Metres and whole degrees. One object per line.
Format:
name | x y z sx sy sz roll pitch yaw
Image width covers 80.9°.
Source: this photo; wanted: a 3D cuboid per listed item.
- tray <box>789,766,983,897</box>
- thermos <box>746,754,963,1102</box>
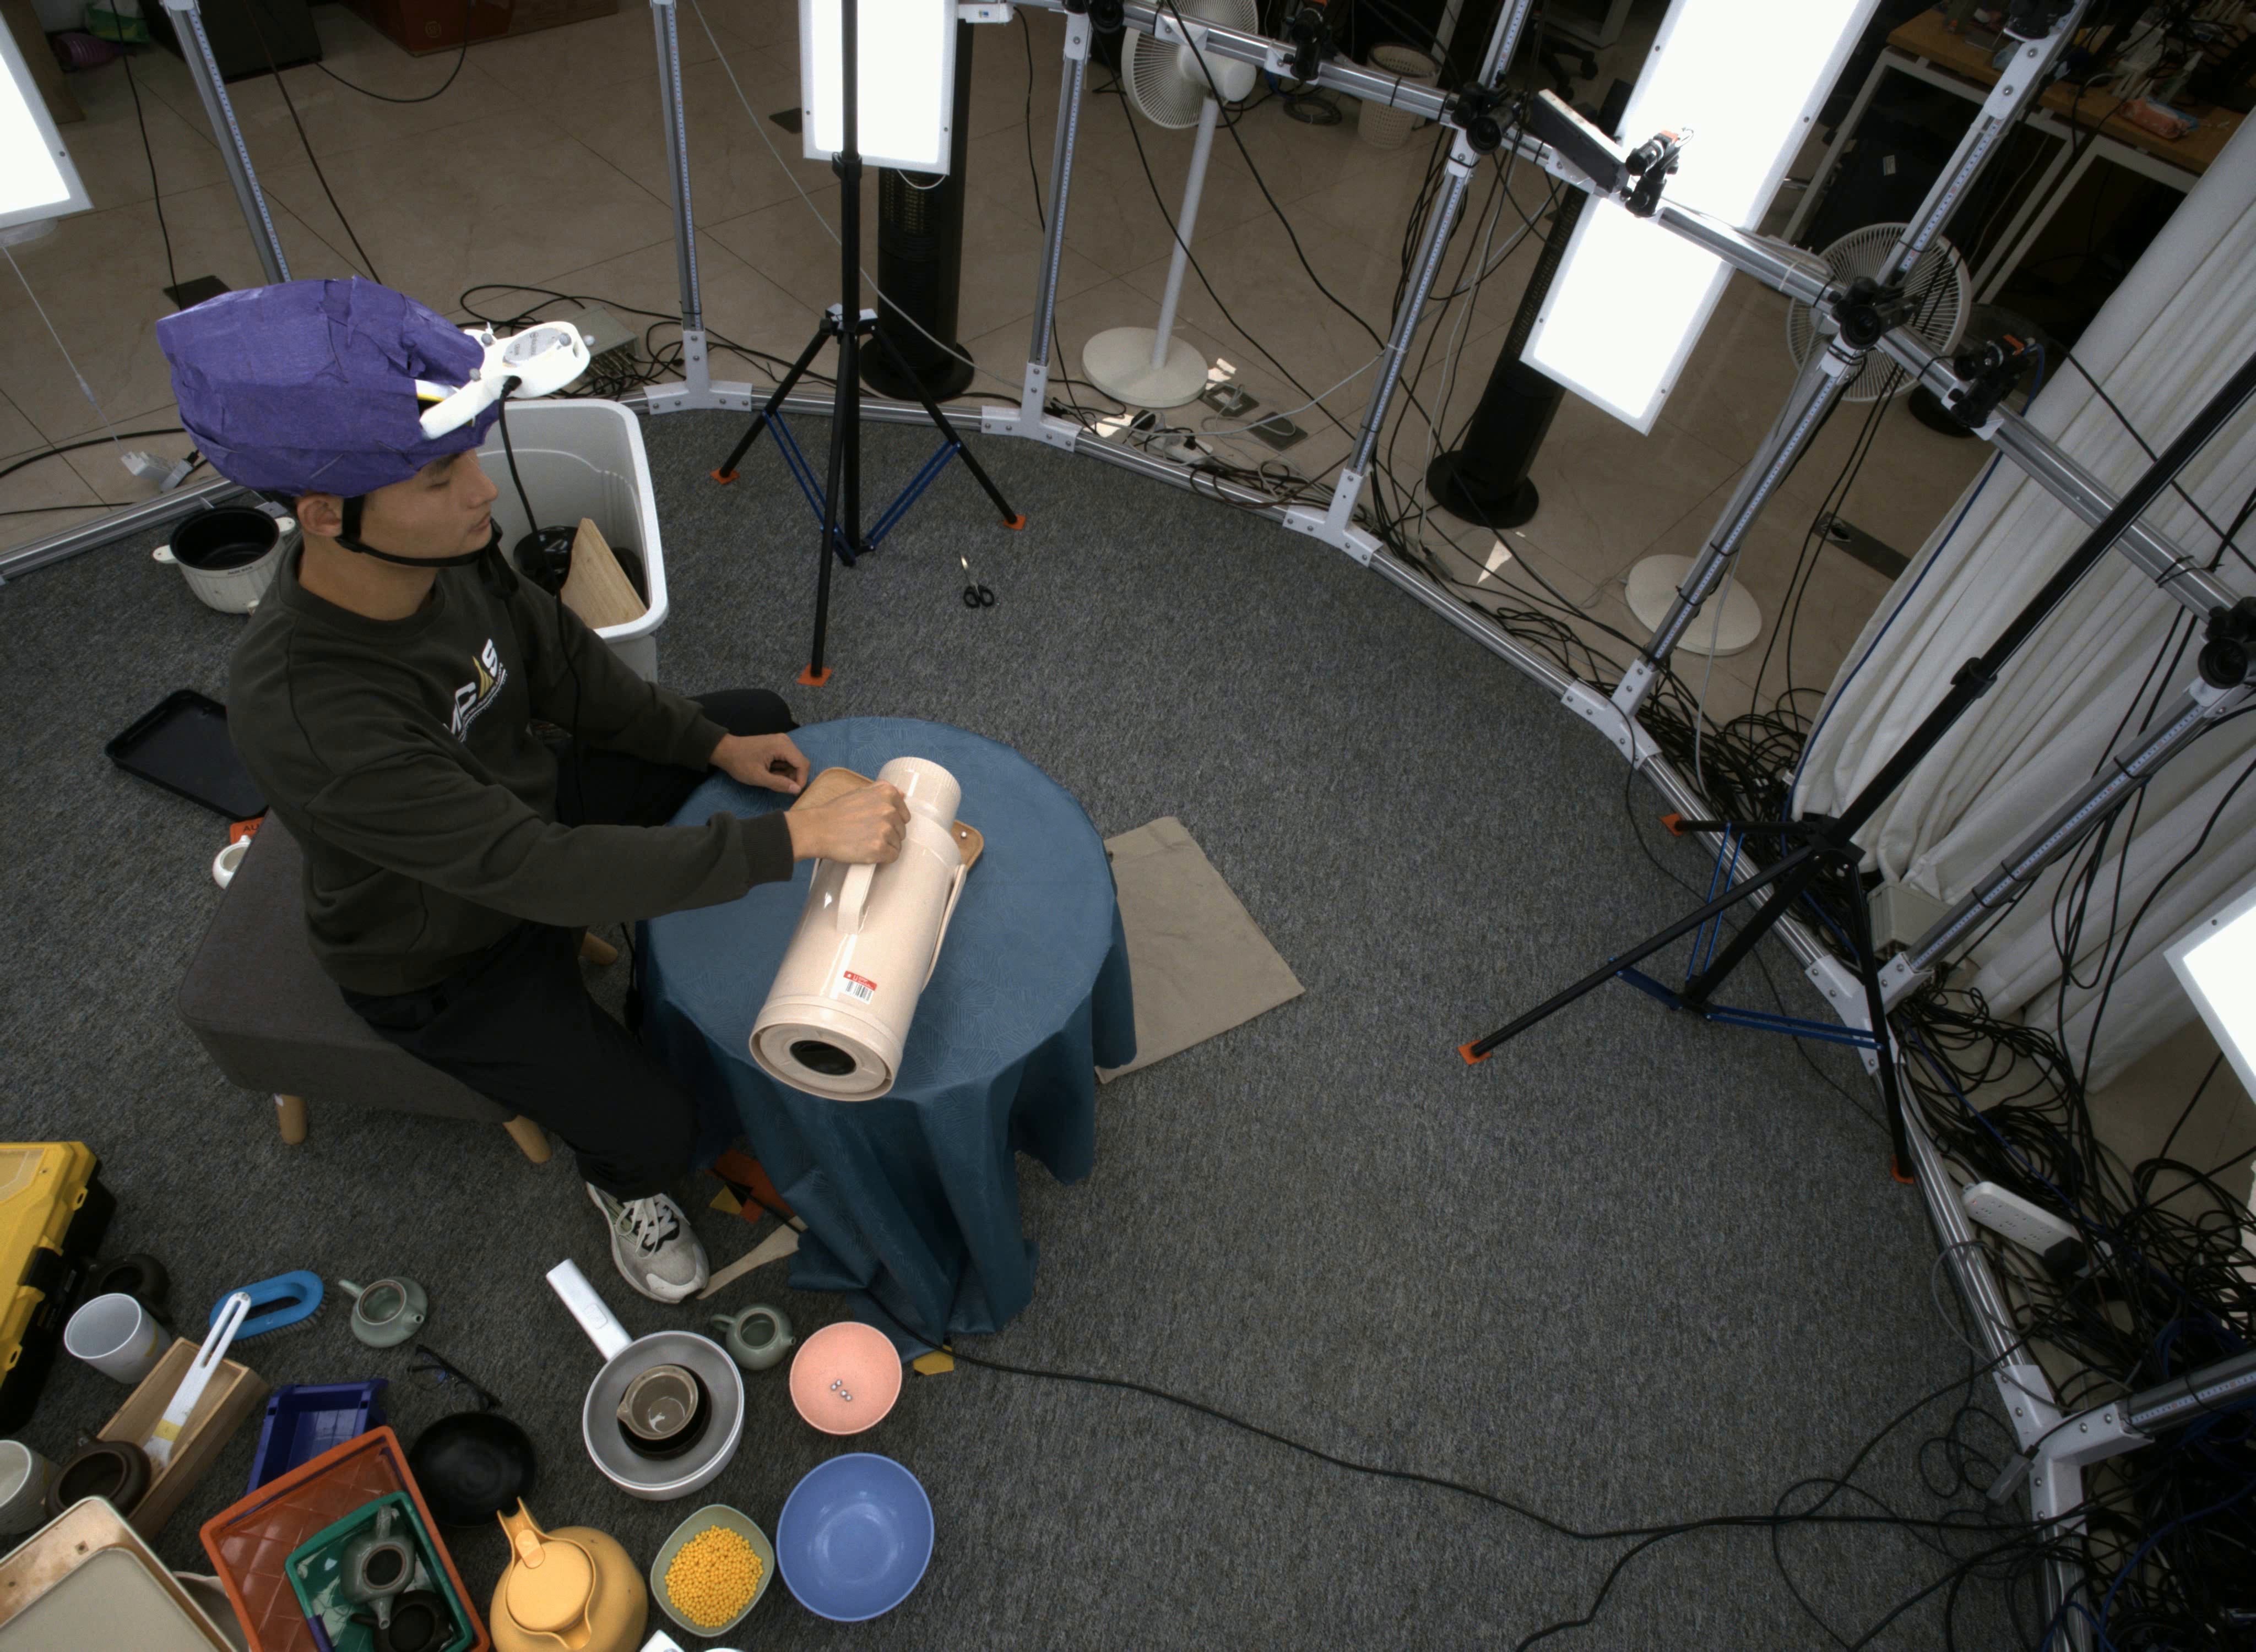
tray | -0.323 0.008 1.743 0.247 0.023 0.130 25 50 7
thermos | -0.296 0.090 1.481 0.173 0.212 0.401 11 52 3
